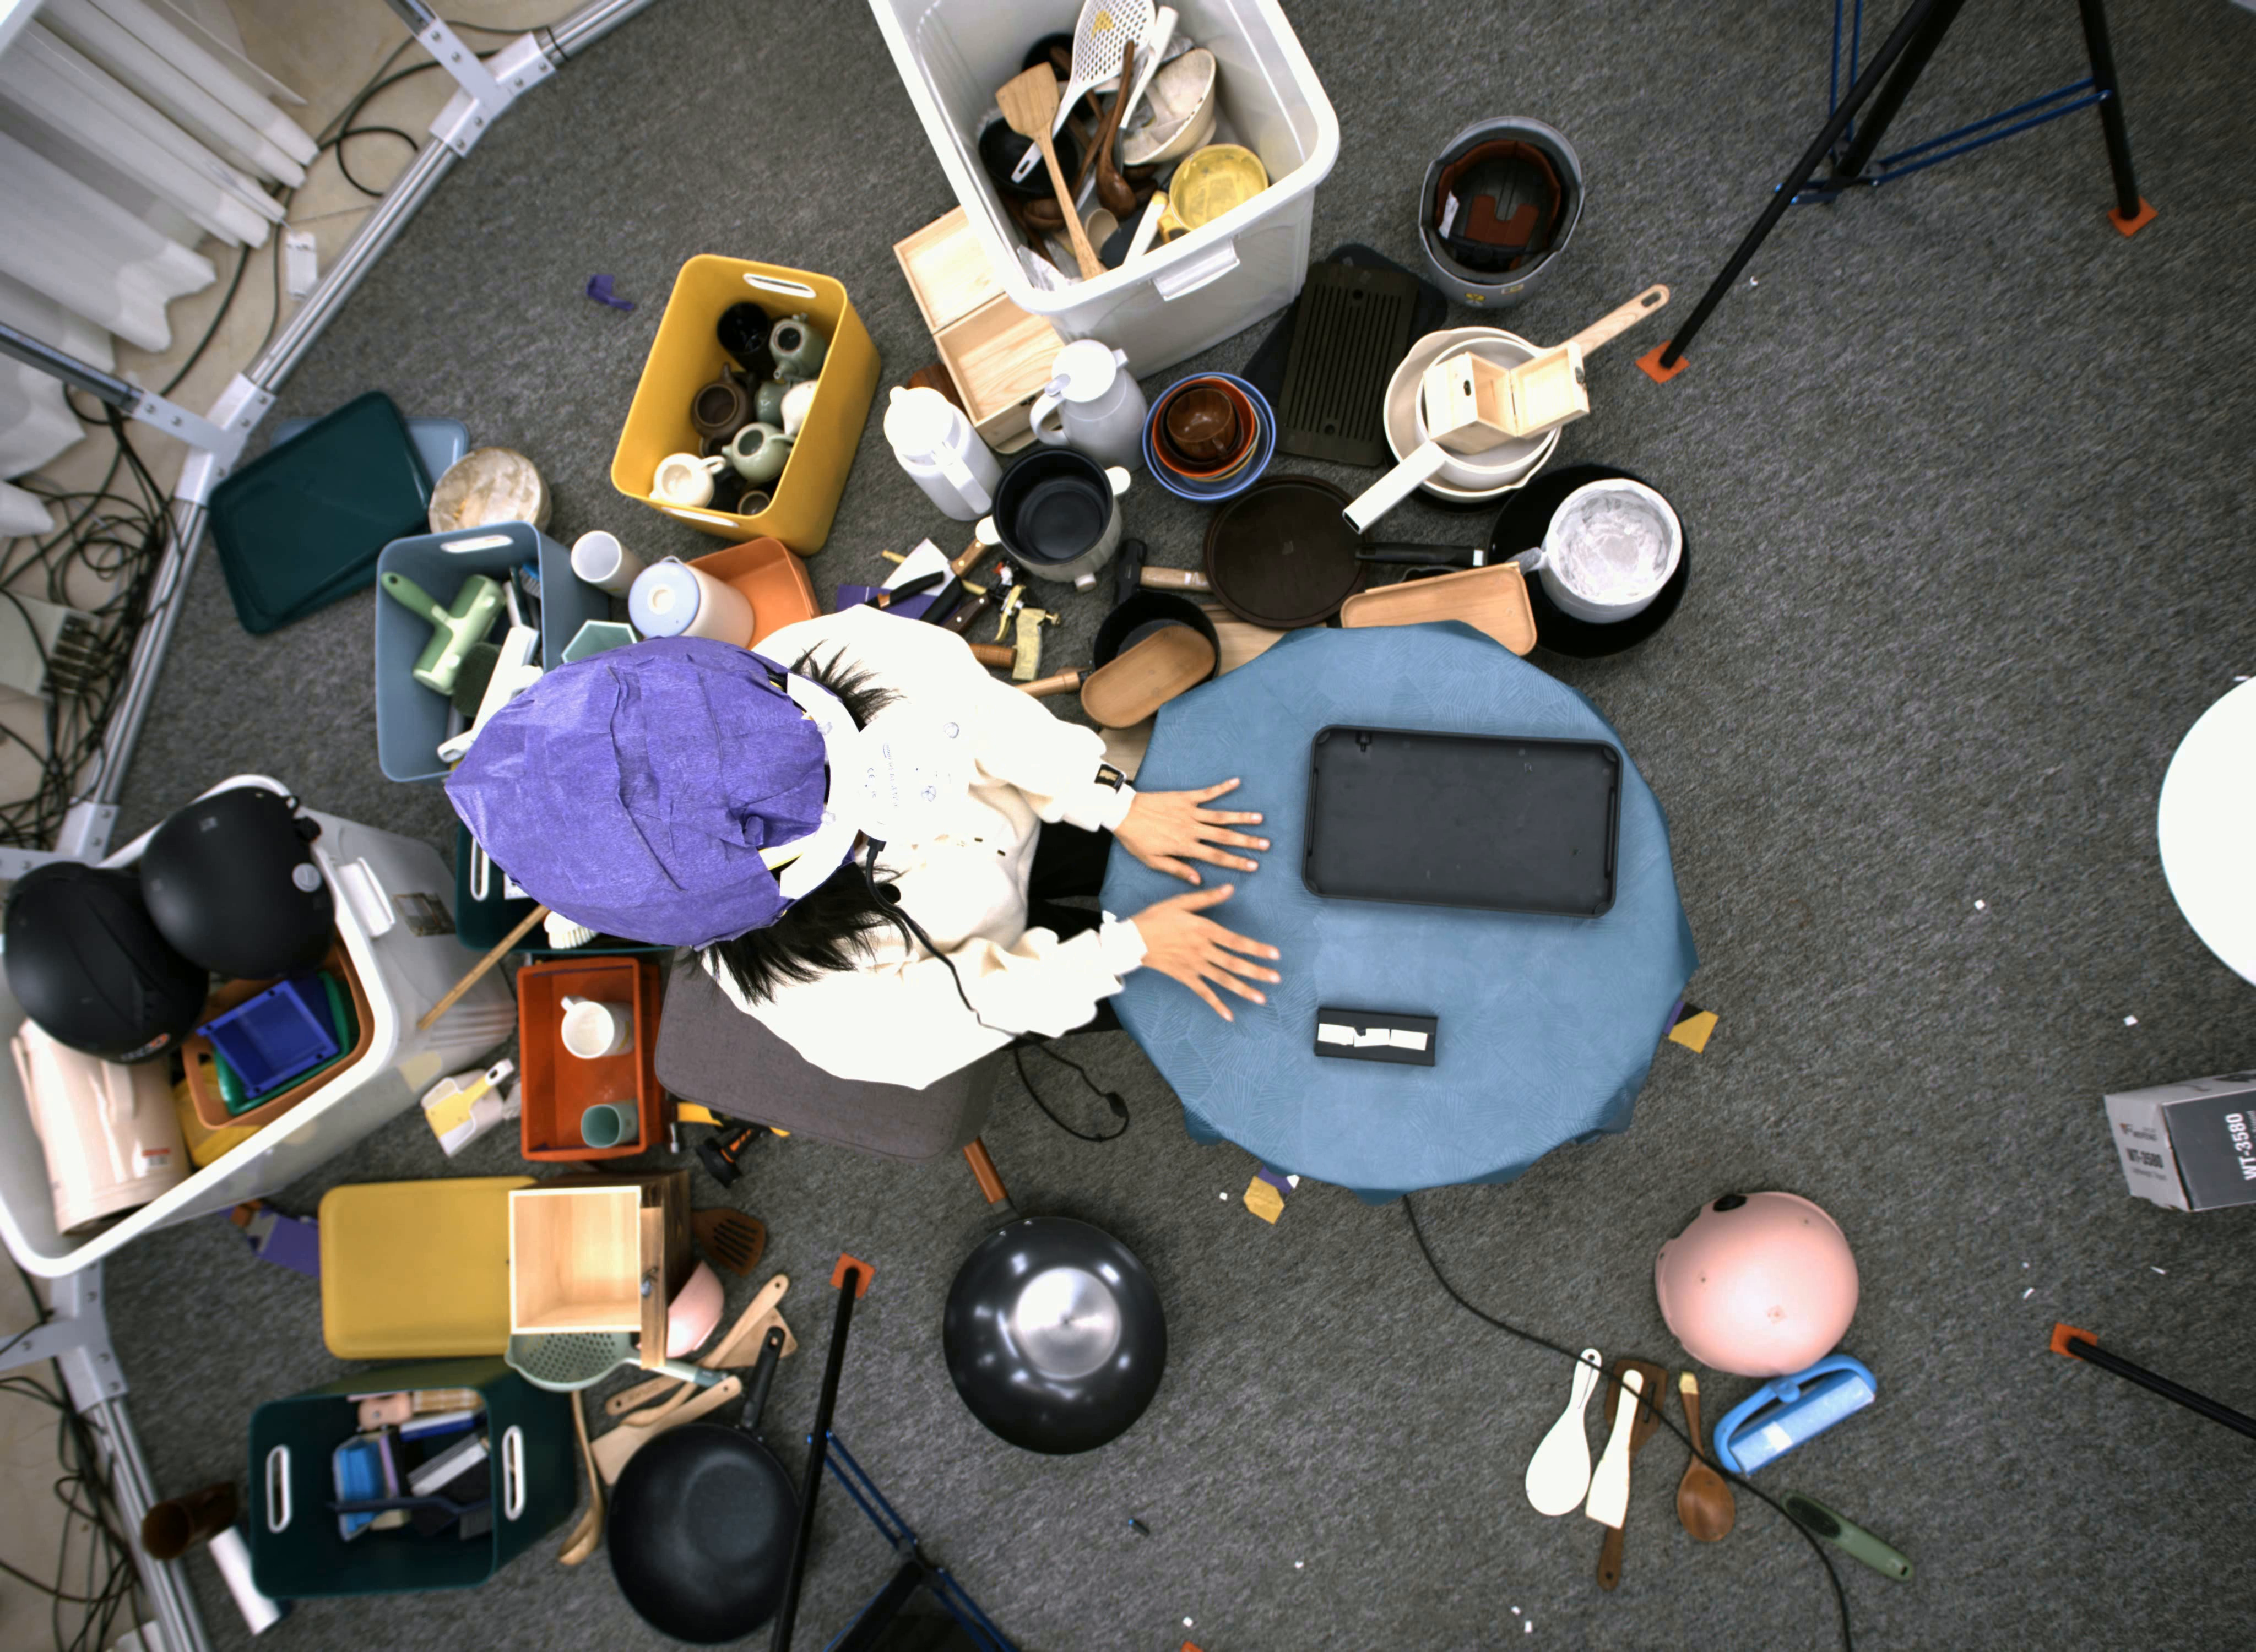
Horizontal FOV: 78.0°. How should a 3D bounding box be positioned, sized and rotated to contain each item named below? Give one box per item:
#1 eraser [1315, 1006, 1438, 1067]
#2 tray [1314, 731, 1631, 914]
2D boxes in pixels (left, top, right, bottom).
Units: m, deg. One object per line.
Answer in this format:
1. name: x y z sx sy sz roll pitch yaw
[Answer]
1. eraser: 0.259 0.217 1.440 0.126 0.030 0.053 3 83 11
2. tray: 0.355 -0.006 1.429 0.319 0.037 0.183 1 87 10
